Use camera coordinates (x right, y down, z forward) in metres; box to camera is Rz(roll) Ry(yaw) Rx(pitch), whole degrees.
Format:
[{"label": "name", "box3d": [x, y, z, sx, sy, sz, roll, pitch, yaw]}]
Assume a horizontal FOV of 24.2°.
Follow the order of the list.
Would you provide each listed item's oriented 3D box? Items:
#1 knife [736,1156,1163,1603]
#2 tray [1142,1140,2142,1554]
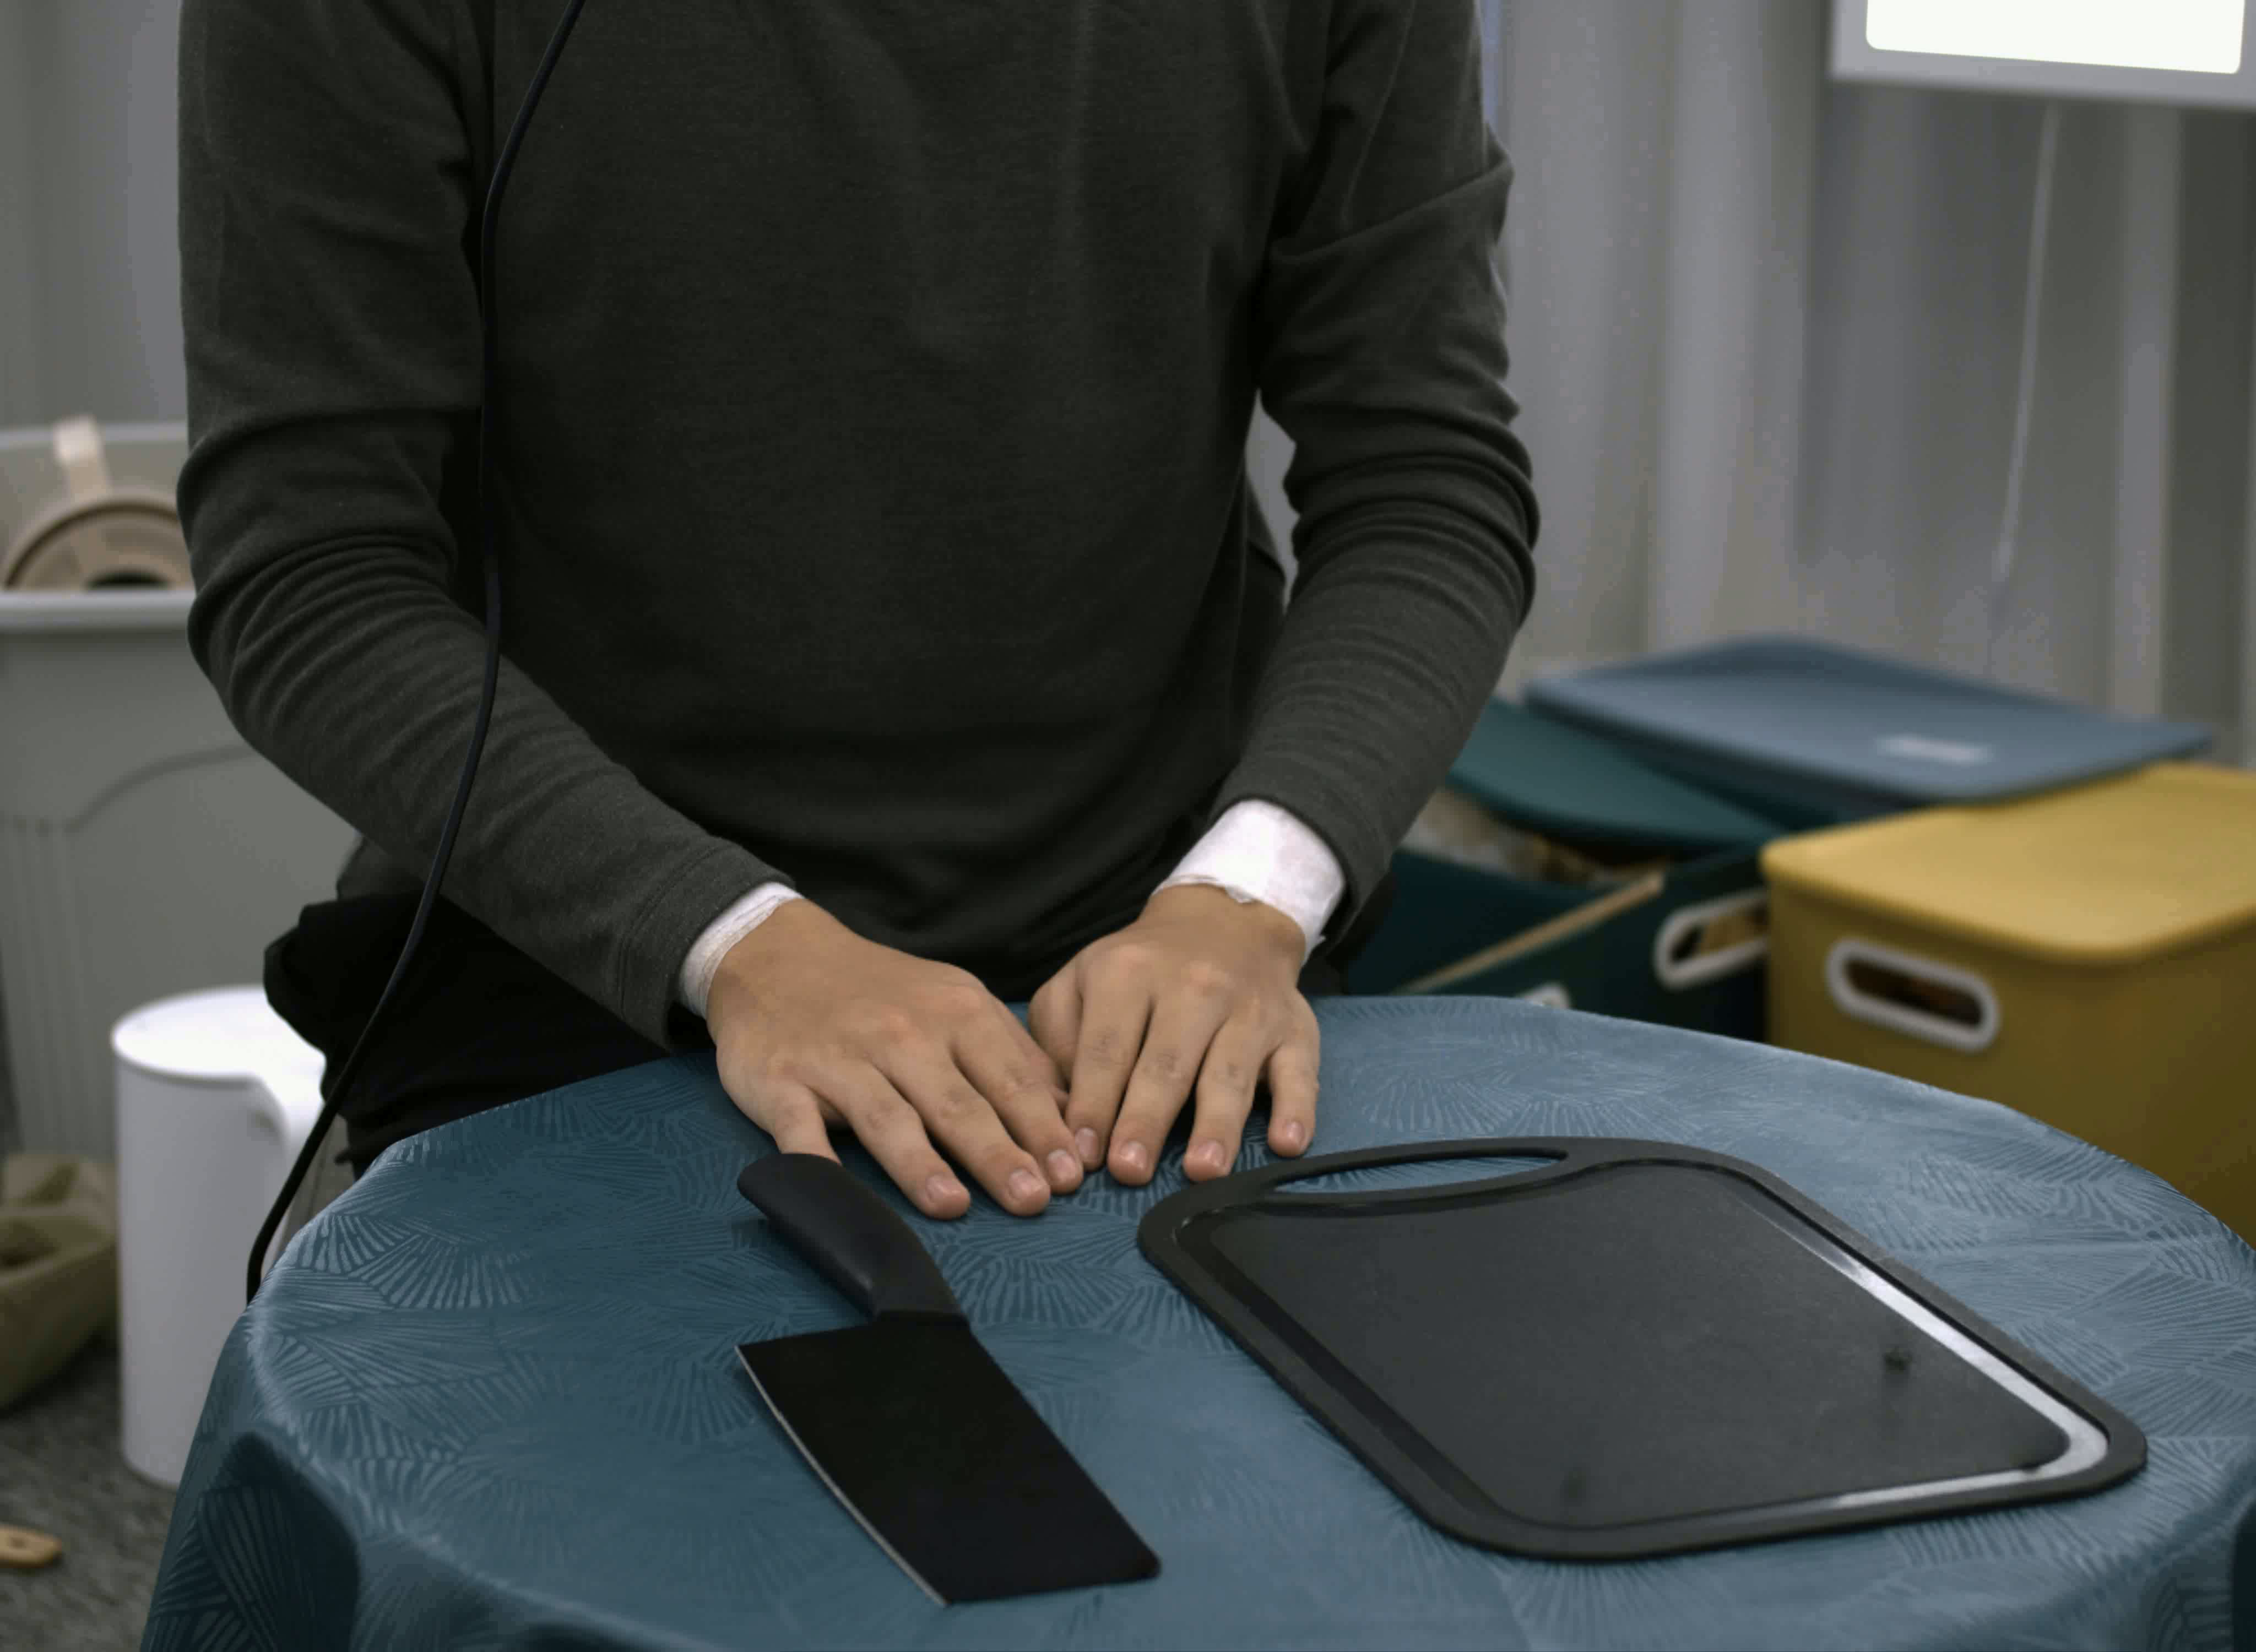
[{"label": "knife", "box3d": [-0.066, 0.150, 1.460, 0.081, 0.021, 0.299, -5, 18, -15]}, {"label": "tray", "box3d": [0.135, 0.141, 1.515, 0.211, 0.010, 0.322, -5, 16, -19]}]
